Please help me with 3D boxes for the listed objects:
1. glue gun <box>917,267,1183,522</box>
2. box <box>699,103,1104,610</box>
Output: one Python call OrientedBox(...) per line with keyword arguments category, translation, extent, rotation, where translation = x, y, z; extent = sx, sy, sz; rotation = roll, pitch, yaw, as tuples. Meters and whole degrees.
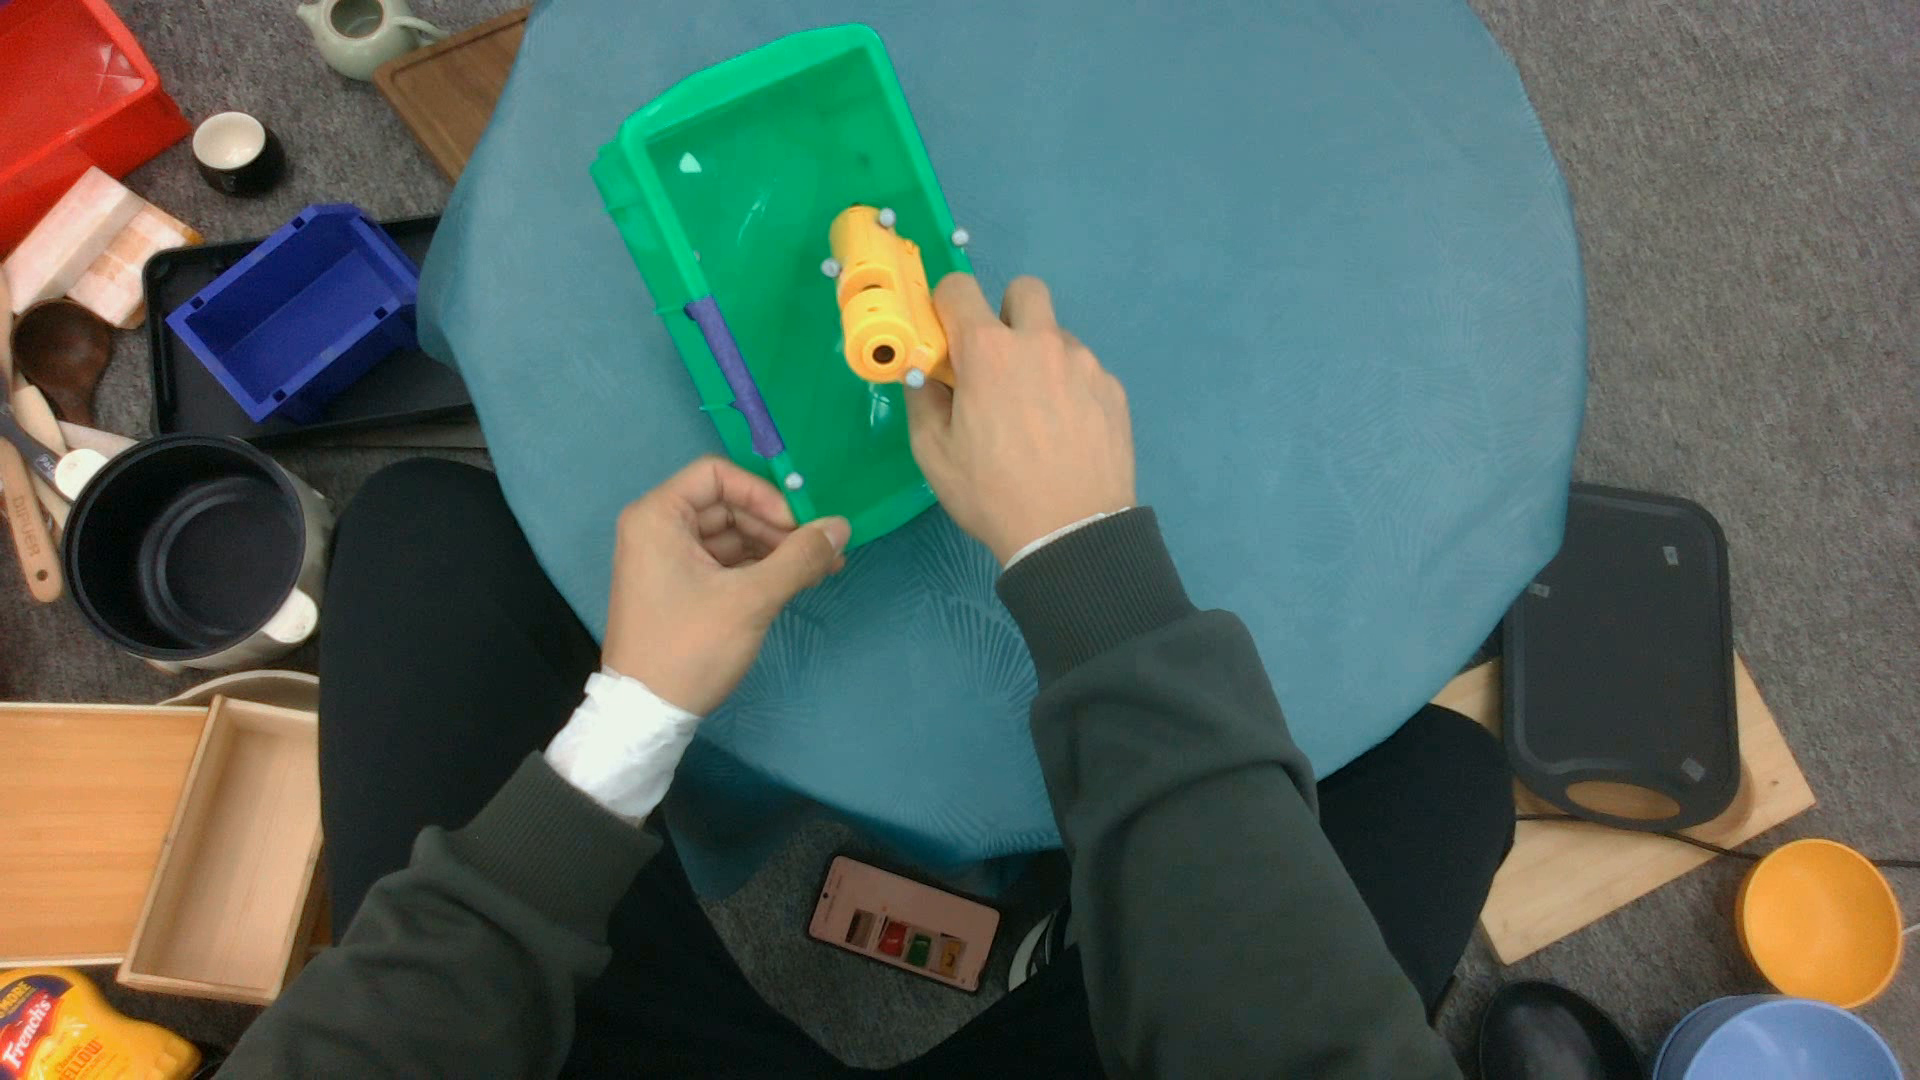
OrientedBox(category="glue gun", translation=(0.034, -0.077, 0.647), extent=(0.133, 0.031, 0.152), rotation=(23, 30, -25))
OrientedBox(category="box", translation=(-0.026, -0.086, 0.651), extent=(0.139, 0.065, 0.210), rotation=(-32, 110, -27))
